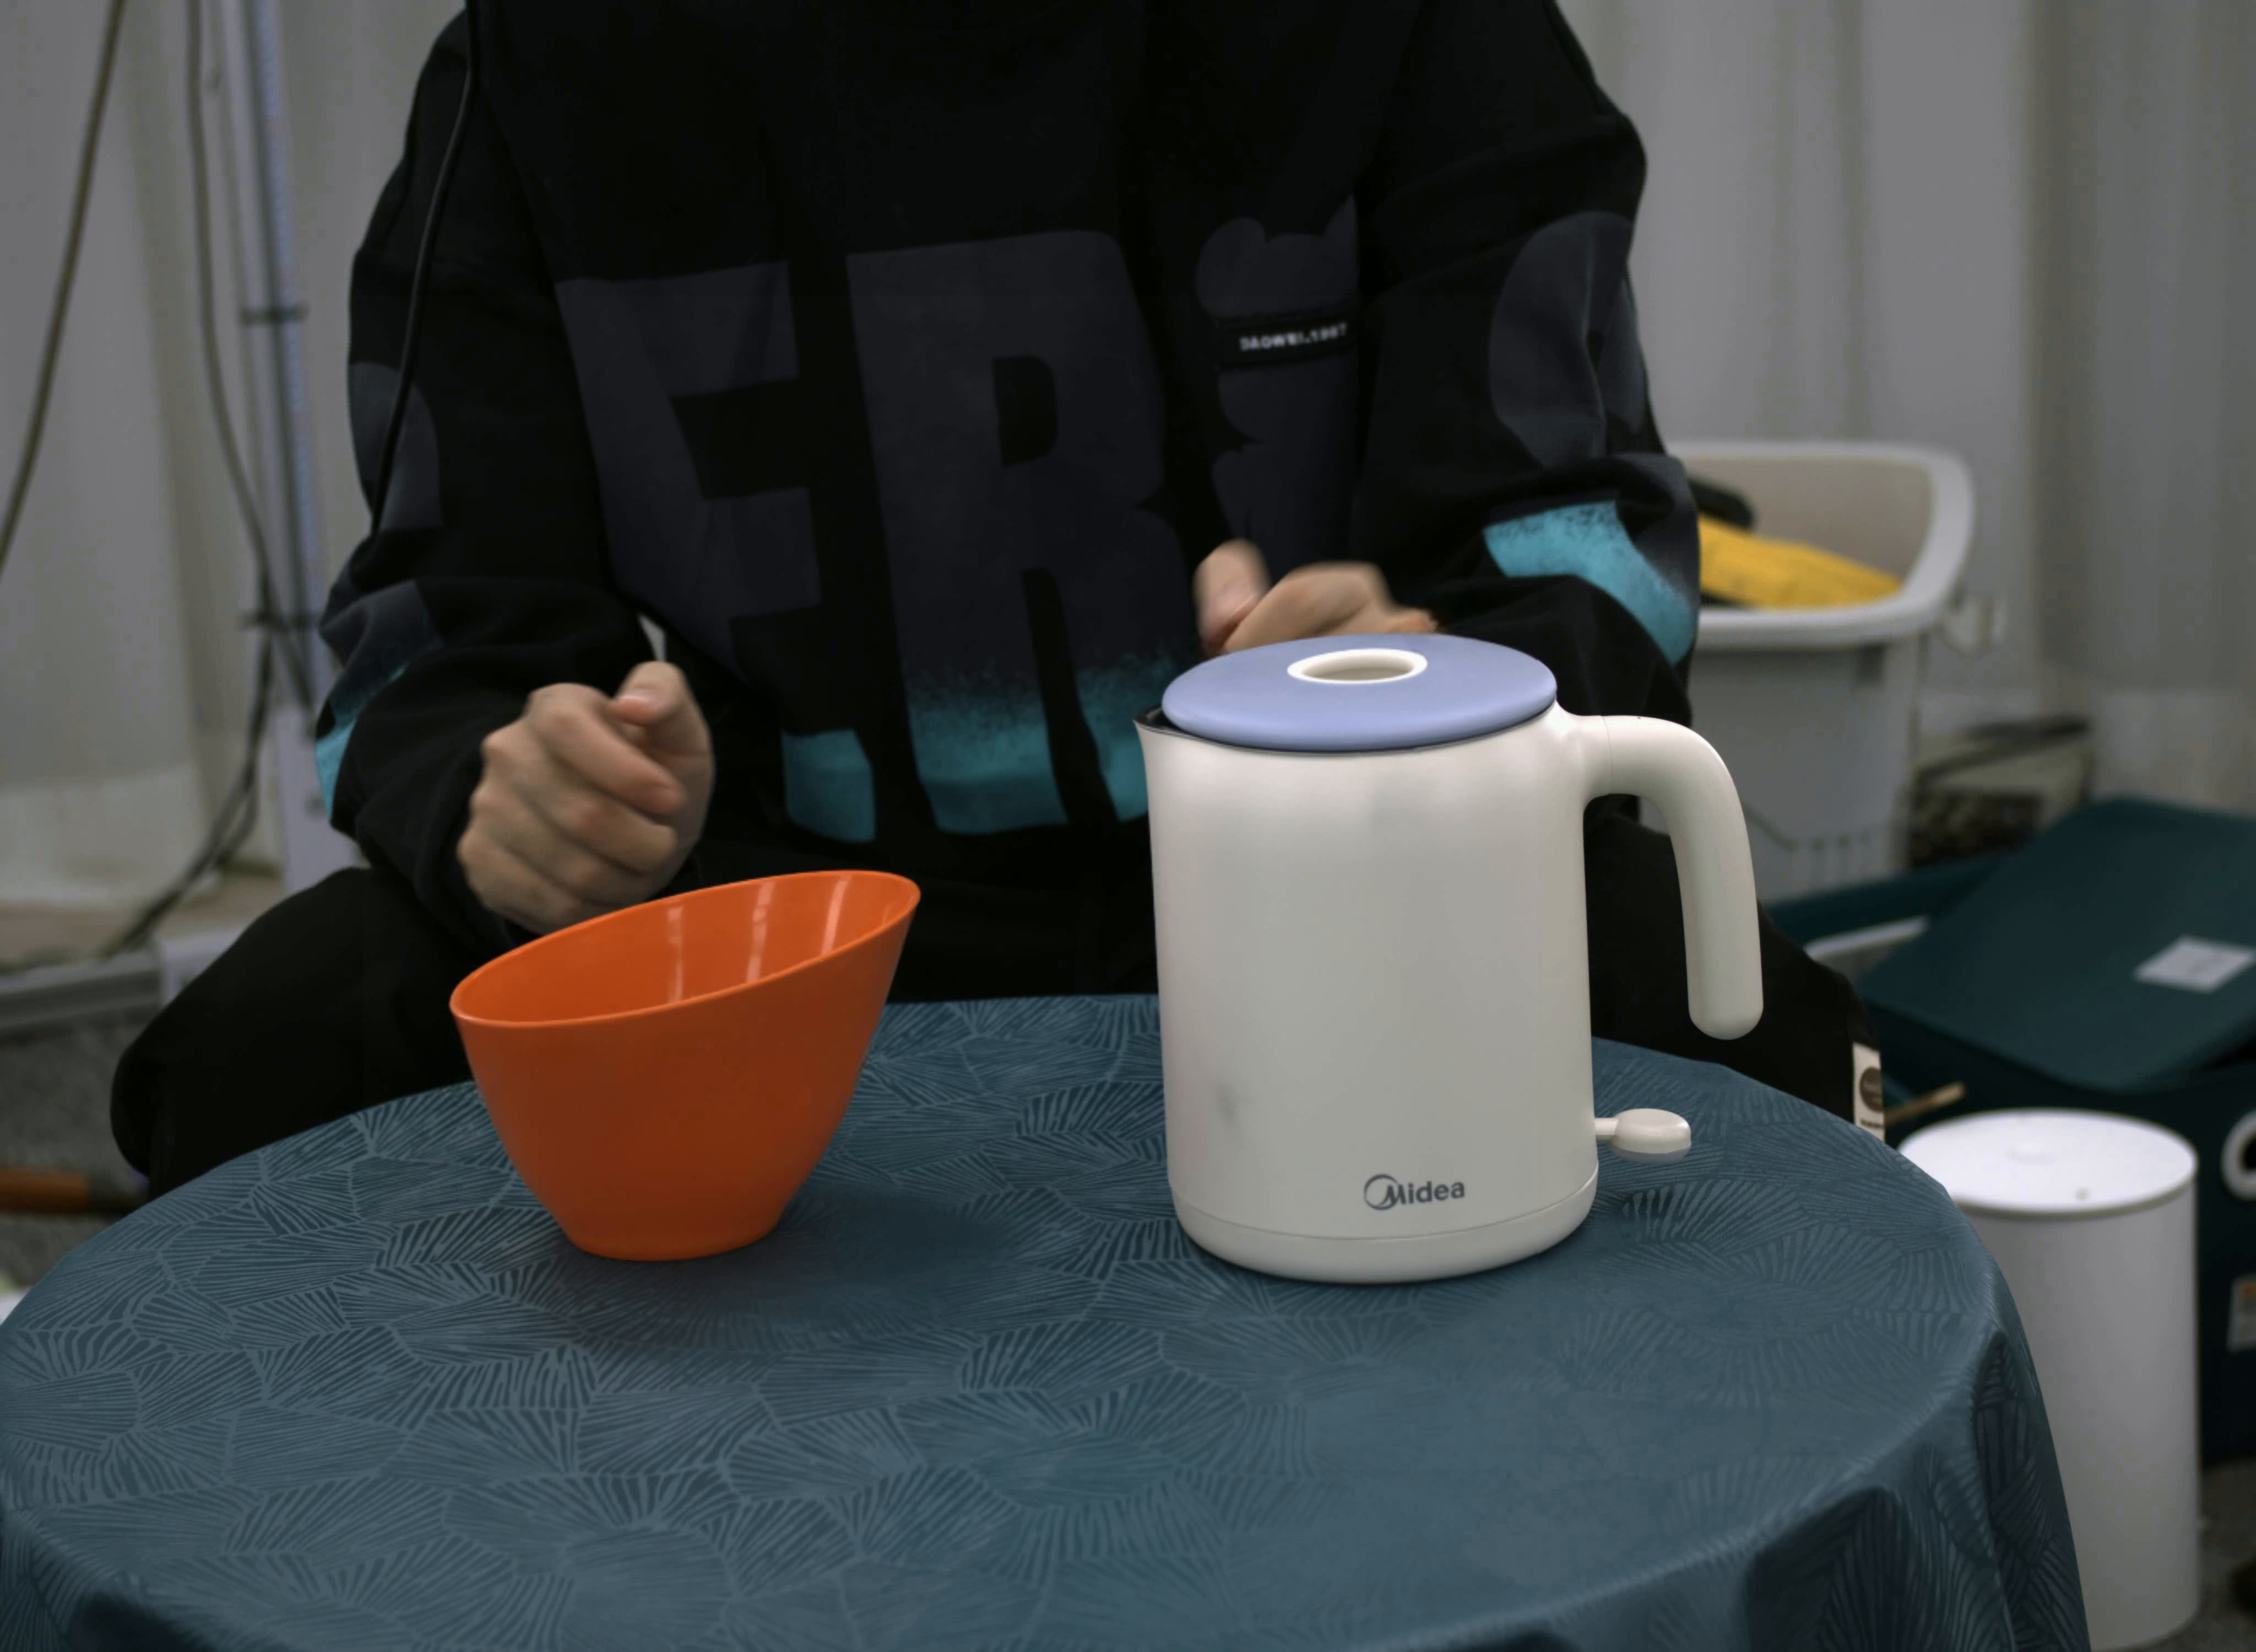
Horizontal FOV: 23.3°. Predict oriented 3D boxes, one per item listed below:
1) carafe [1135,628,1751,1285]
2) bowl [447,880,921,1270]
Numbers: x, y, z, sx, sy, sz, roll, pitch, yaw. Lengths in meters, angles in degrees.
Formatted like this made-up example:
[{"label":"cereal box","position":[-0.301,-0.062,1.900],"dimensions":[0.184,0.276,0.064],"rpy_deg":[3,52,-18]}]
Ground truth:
[{"label":"carafe","position":[0.097,0.037,1.658],"dimensions":[0.190,0.182,0.133],"rpy_deg":[-3,15,-8]},{"label":"bowl","position":[-0.135,0.078,1.686],"dimensions":[0.147,0.104,0.149],"rpy_deg":[-3,15,0]}]
